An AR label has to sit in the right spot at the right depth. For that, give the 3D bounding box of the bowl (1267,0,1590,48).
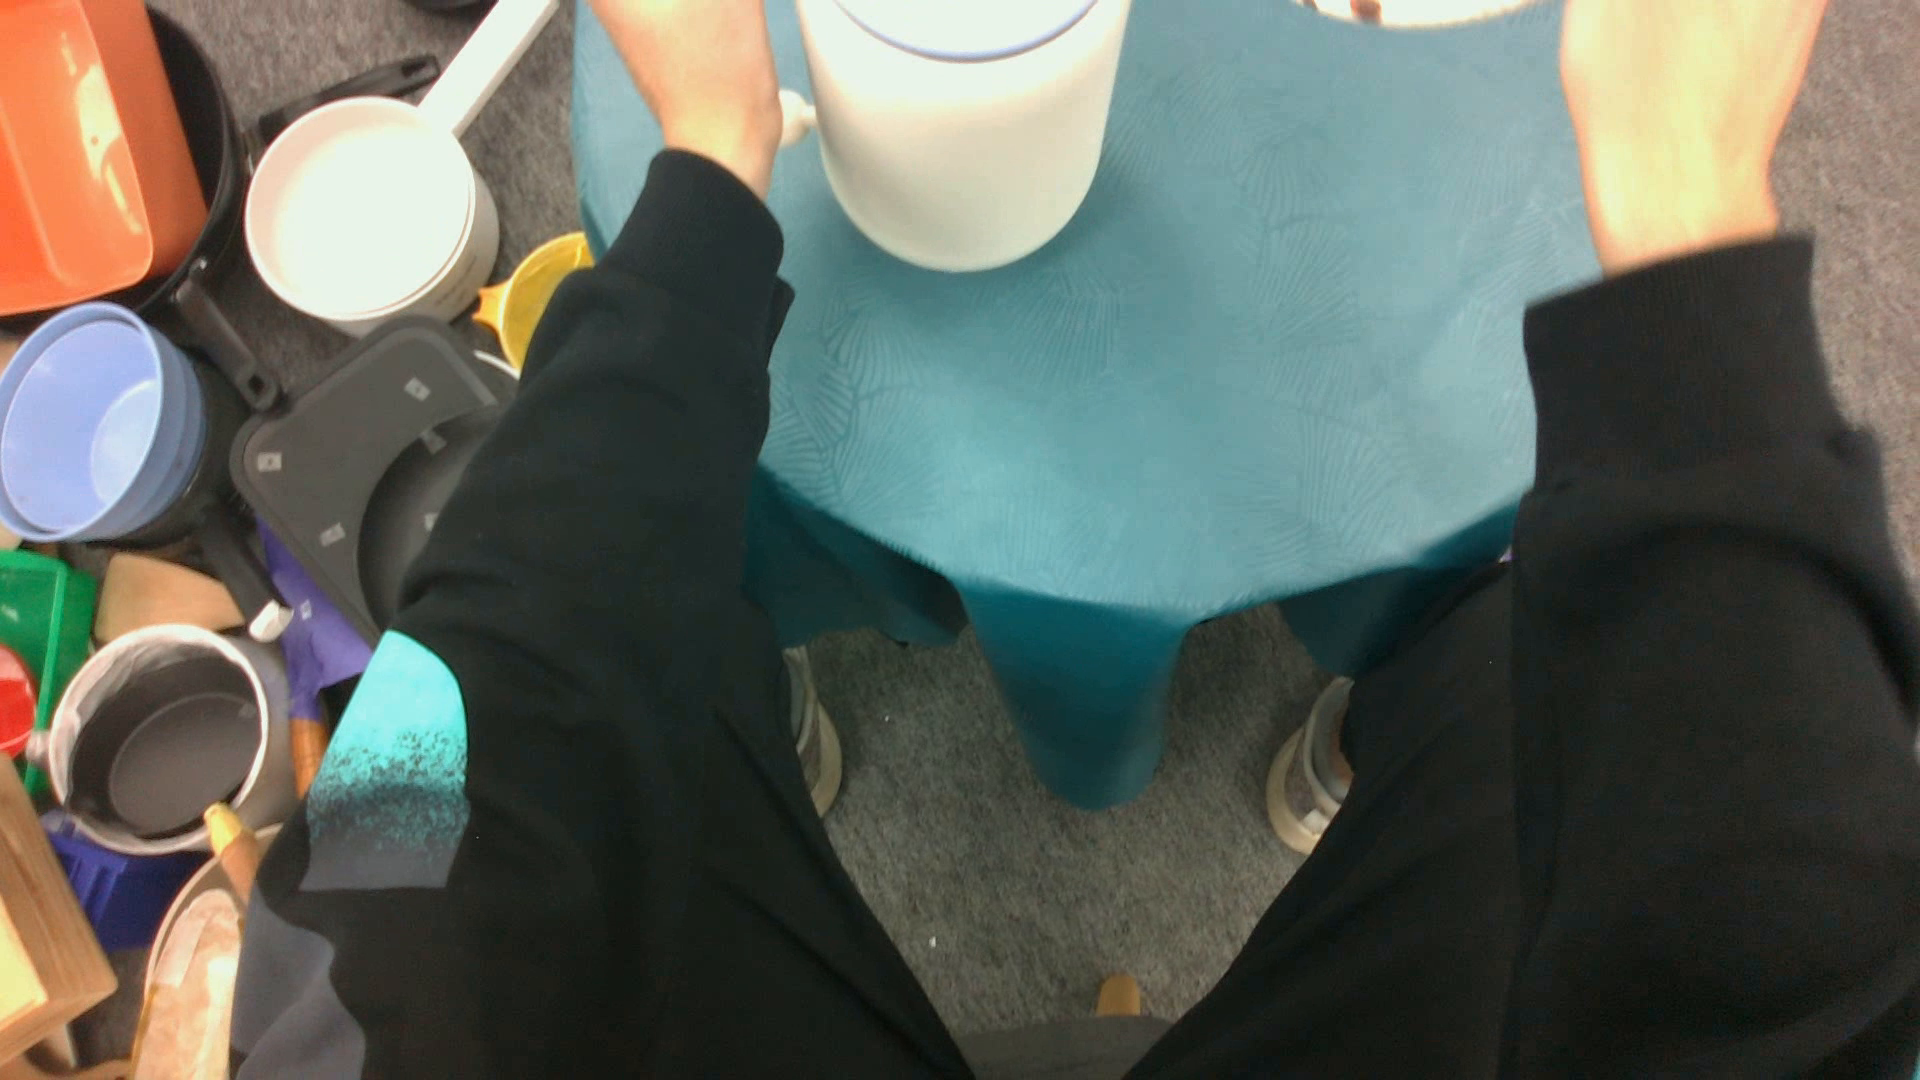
[{"bbox_3d":[0.180,-0.263,0.464,0.203,0.078,0.204,2,94,33],"label":"bowl"}]

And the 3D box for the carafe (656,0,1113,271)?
[{"bbox_3d":[-0.030,-0.207,0.580,0.191,0.182,0.132,-1,75,1],"label":"carafe"}]
